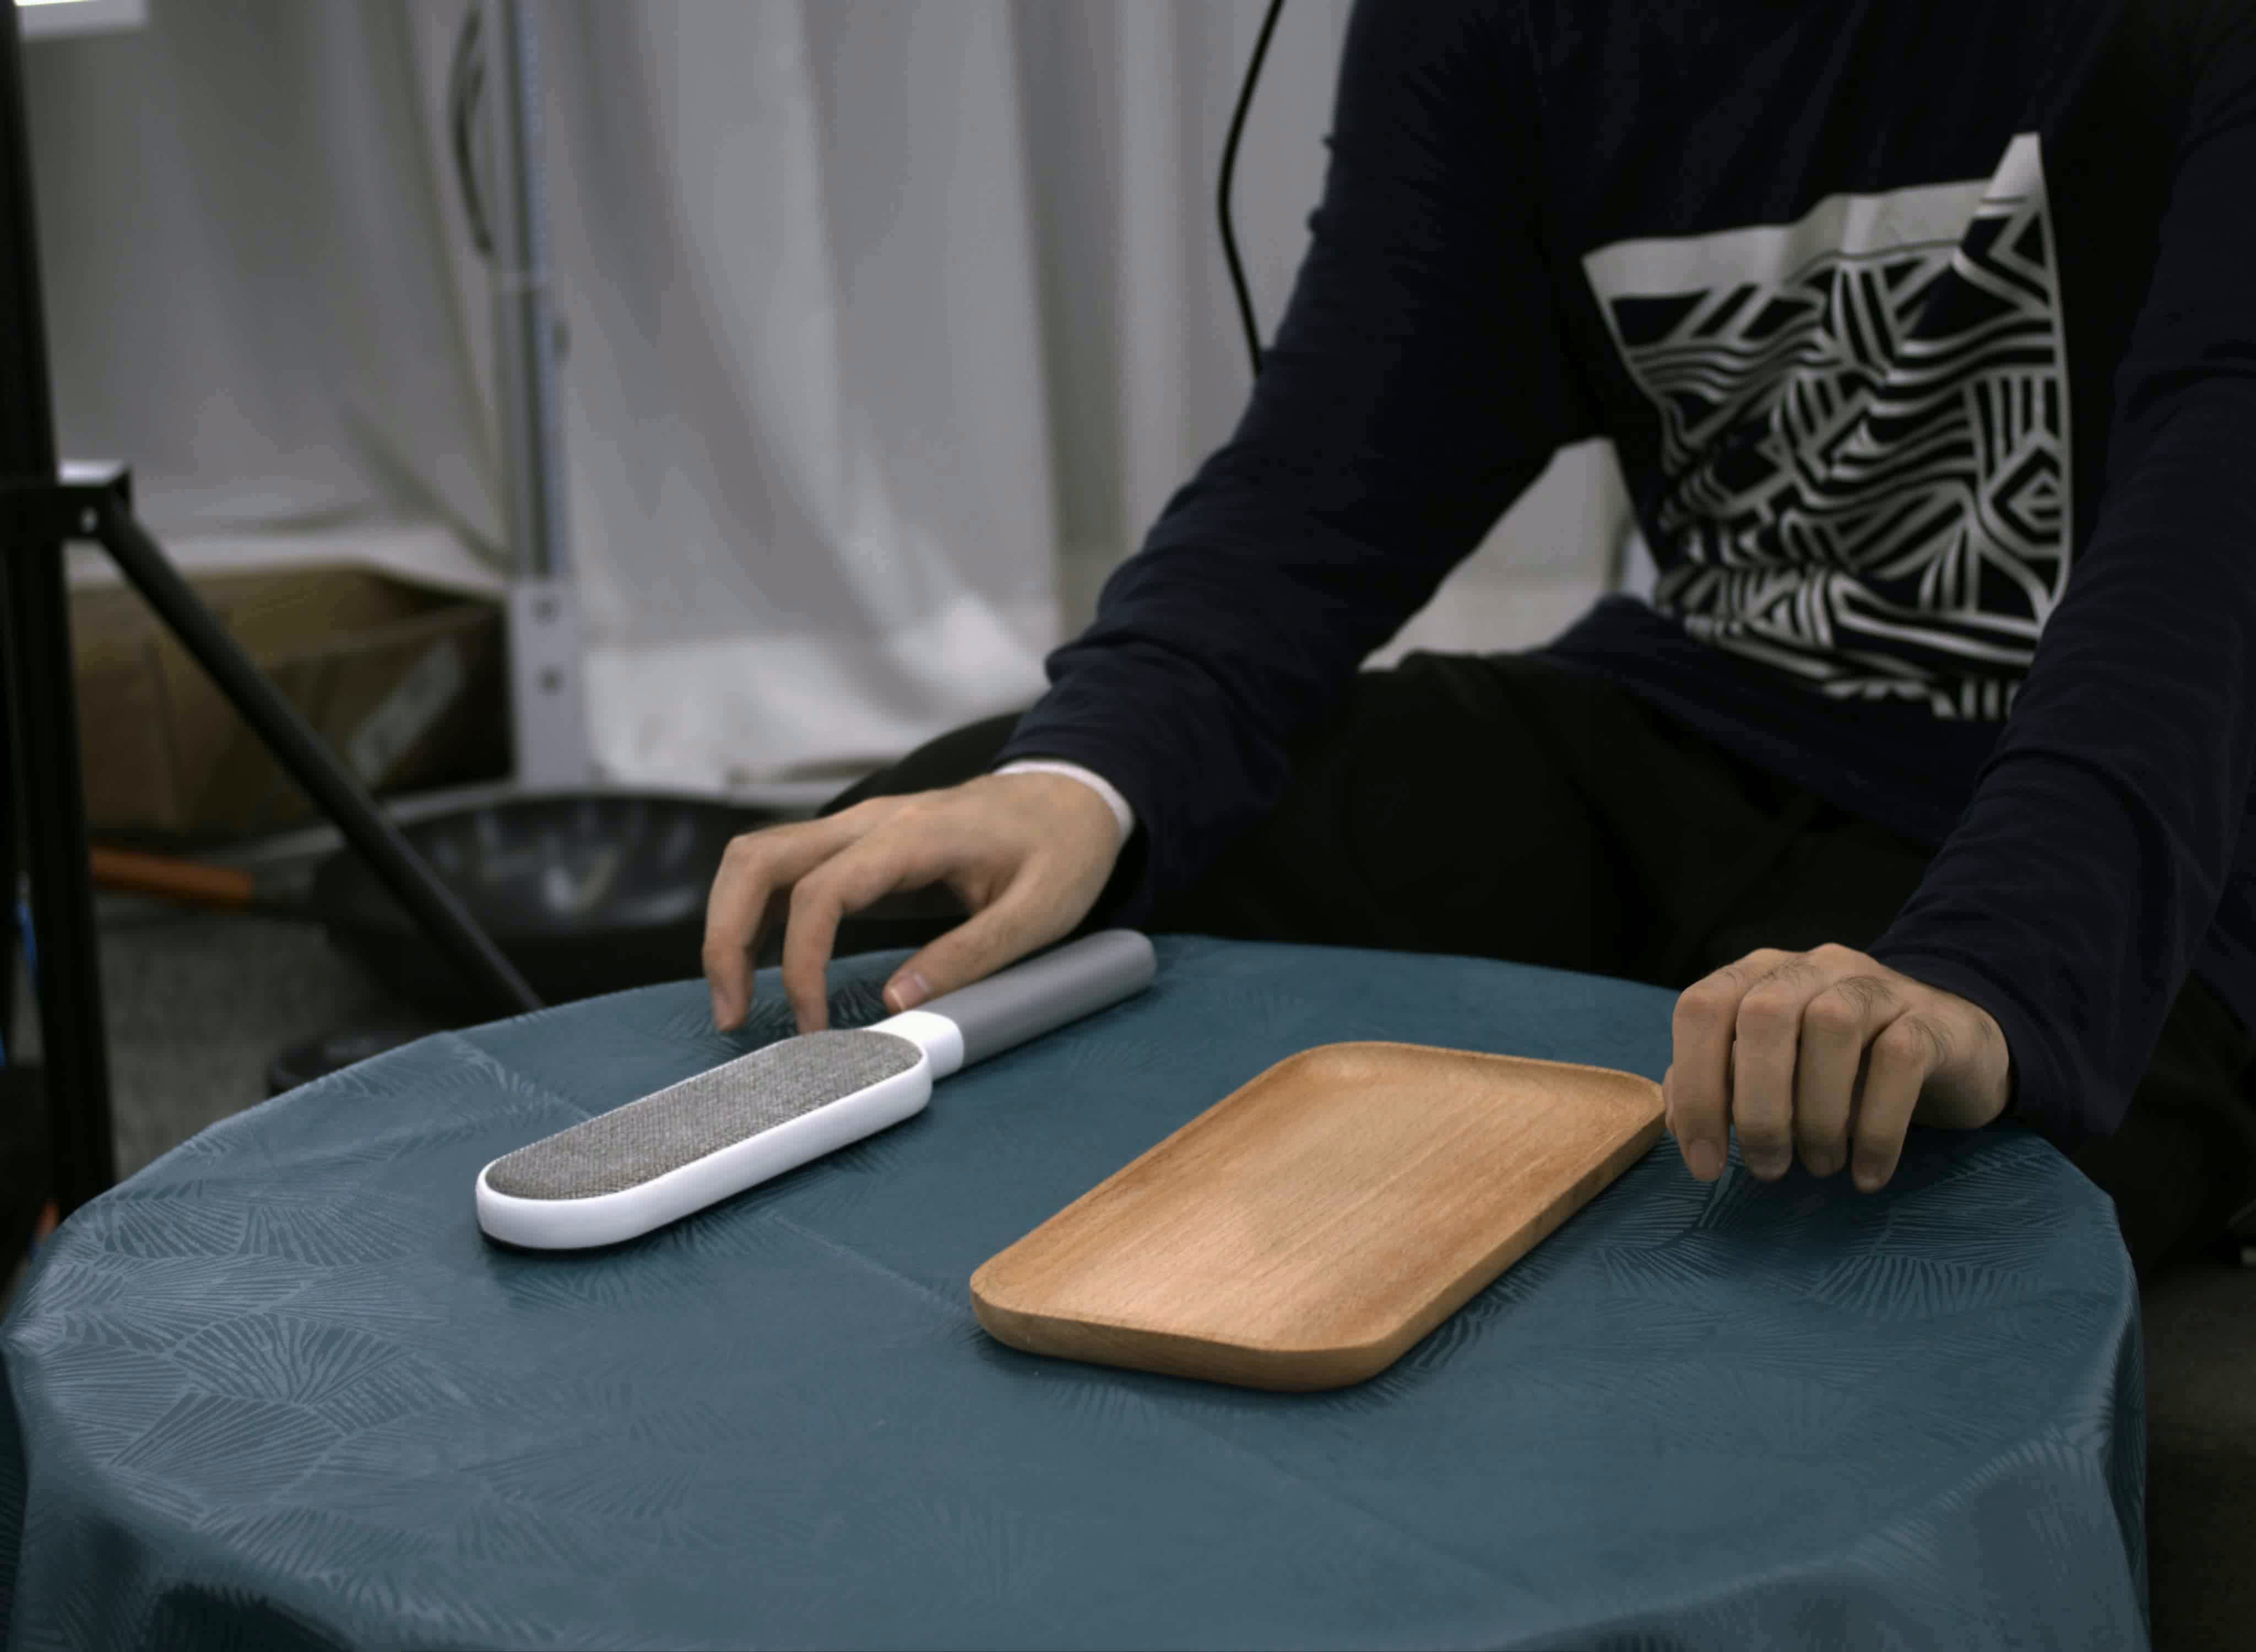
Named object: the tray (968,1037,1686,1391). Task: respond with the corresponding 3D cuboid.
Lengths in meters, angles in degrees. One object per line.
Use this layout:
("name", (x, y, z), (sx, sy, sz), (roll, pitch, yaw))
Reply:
("tray", (0.061, 0.108, 1.520), (0.133, 0.023, 0.246), (9, 19, 29))

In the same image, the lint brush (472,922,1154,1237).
("lint brush", (-0.087, 0.075, 1.642), (0.061, 0.021, 0.302), (4, 16, 38))
